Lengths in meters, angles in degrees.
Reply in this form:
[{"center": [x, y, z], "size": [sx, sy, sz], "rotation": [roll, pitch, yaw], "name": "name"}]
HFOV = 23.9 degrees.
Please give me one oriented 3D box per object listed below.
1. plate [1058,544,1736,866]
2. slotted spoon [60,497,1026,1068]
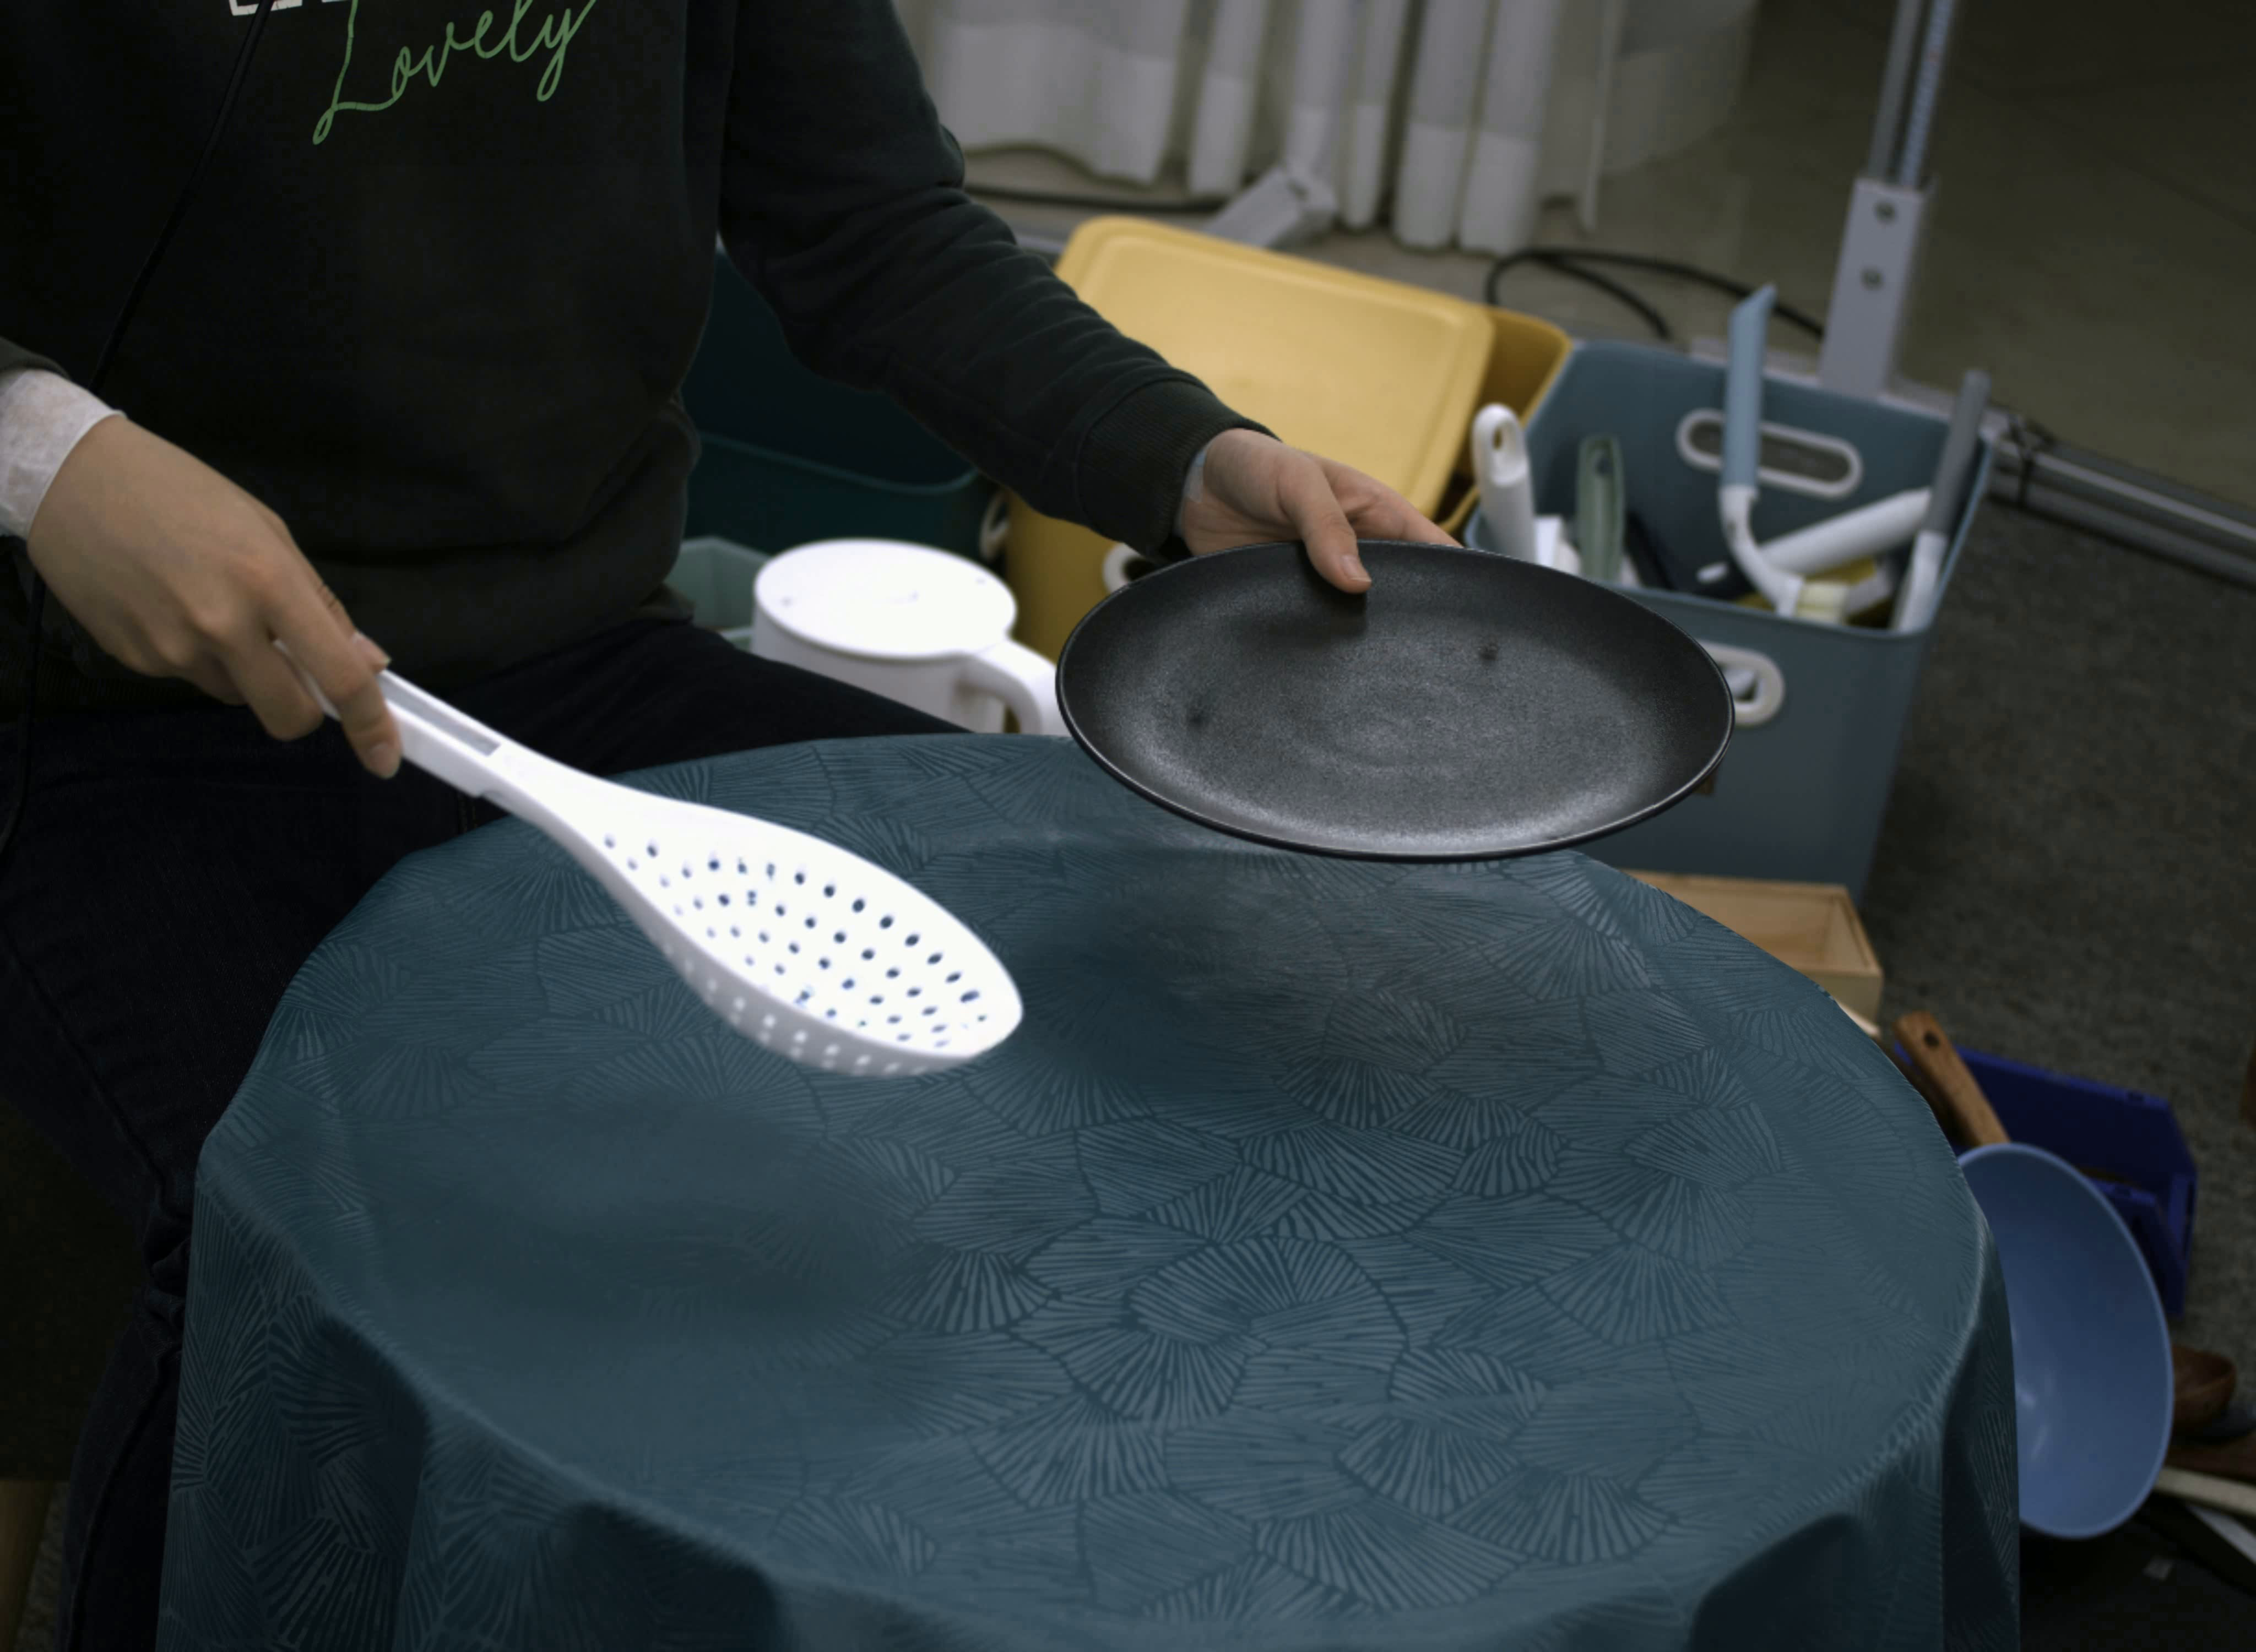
[{"center": [0.095, -0.040, 1.908], "size": [0.243, 0.023, 0.246], "rotation": [2, 29, -1], "name": "plate"}, {"center": [-0.191, -0.015, 1.715], "size": [0.349, 0.046, 0.136], "rotation": [33, 18, 2], "name": "slotted spoon"}]
